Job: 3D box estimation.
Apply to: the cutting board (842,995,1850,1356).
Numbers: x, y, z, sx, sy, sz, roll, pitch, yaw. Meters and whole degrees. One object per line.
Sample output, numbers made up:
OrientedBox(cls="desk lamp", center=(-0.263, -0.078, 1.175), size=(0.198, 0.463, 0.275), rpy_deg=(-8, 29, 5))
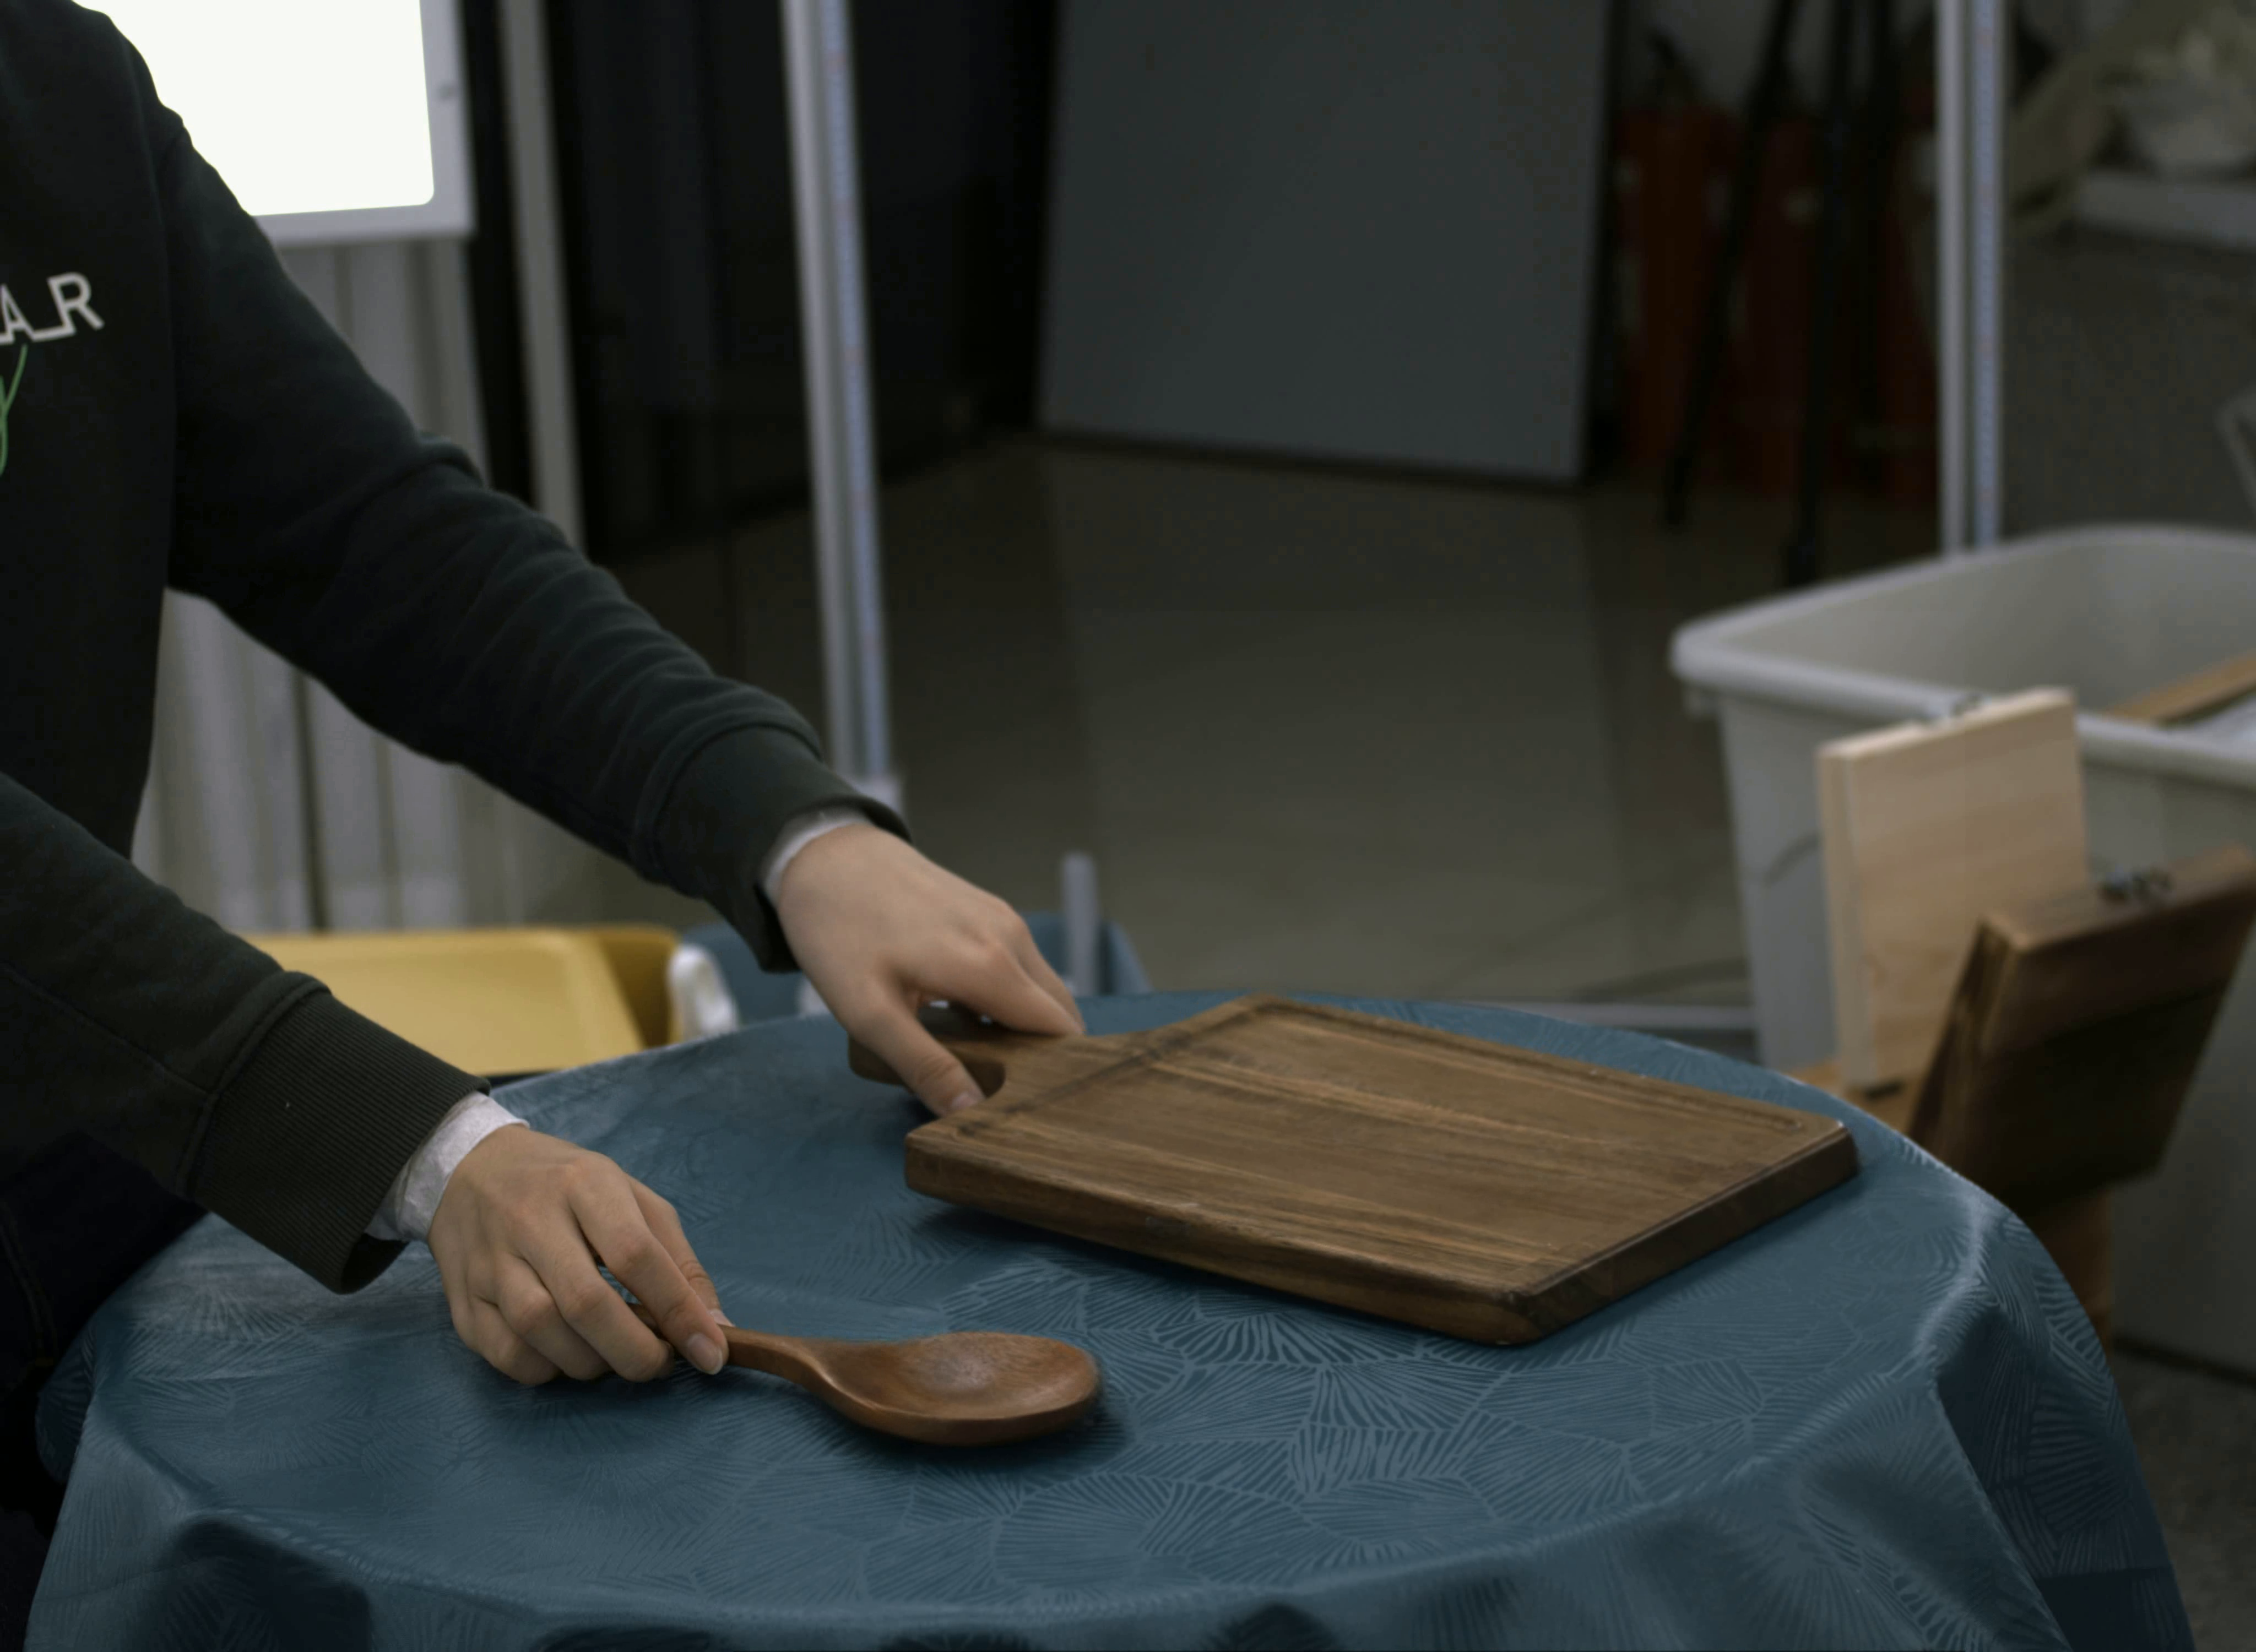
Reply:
OrientedBox(cls="cutting board", center=(0.043, 0.101, 1.772), size=(0.355, 0.023, 0.197), rpy_deg=(11, 21, 39))

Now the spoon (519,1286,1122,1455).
OrientedBox(cls="spoon", center=(-0.095, 0.160, 1.604), size=(0.217, 0.017, 0.074), rpy_deg=(7, 20, 35))
